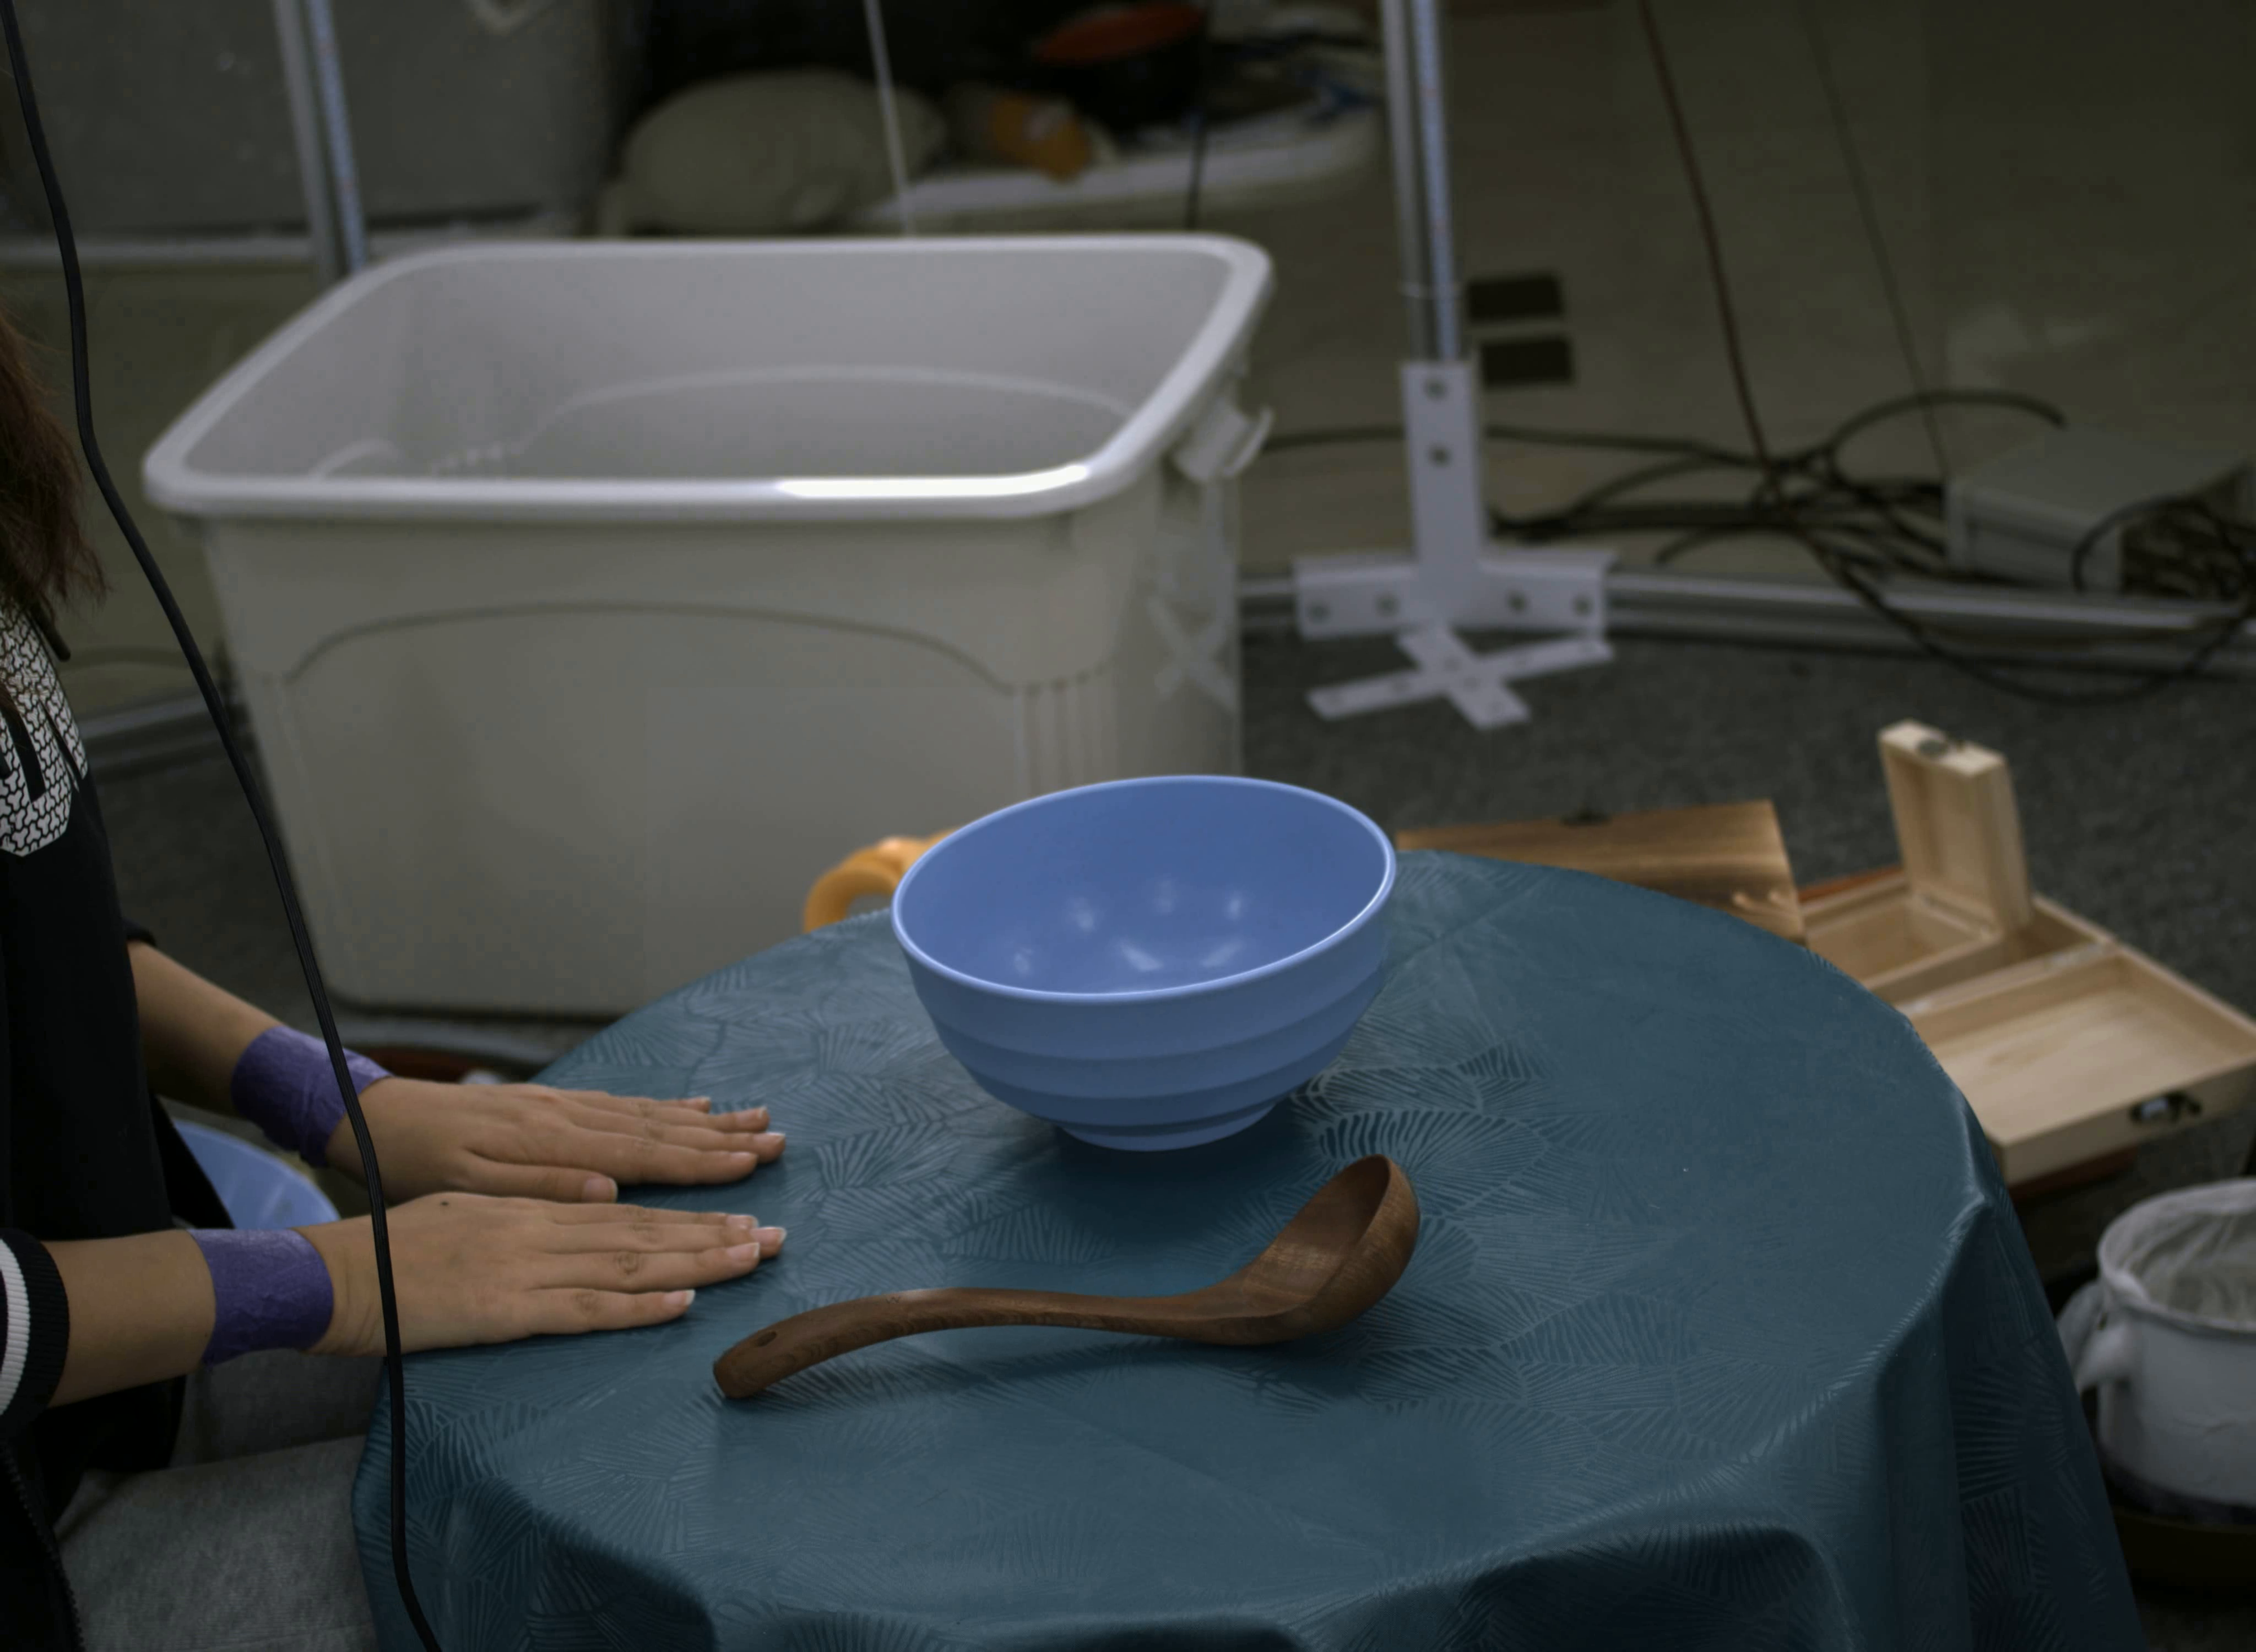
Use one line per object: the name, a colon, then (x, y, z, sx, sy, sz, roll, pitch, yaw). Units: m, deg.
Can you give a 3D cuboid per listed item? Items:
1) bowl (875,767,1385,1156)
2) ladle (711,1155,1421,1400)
bowl: (0.002, 0.064, 2.197, 0.196, 0.097, 0.193, -2, 30, 1)
ladle: (-0.024, 0.162, 2.029, 0.260, 0.066, 0.075, -6, 19, 2)
